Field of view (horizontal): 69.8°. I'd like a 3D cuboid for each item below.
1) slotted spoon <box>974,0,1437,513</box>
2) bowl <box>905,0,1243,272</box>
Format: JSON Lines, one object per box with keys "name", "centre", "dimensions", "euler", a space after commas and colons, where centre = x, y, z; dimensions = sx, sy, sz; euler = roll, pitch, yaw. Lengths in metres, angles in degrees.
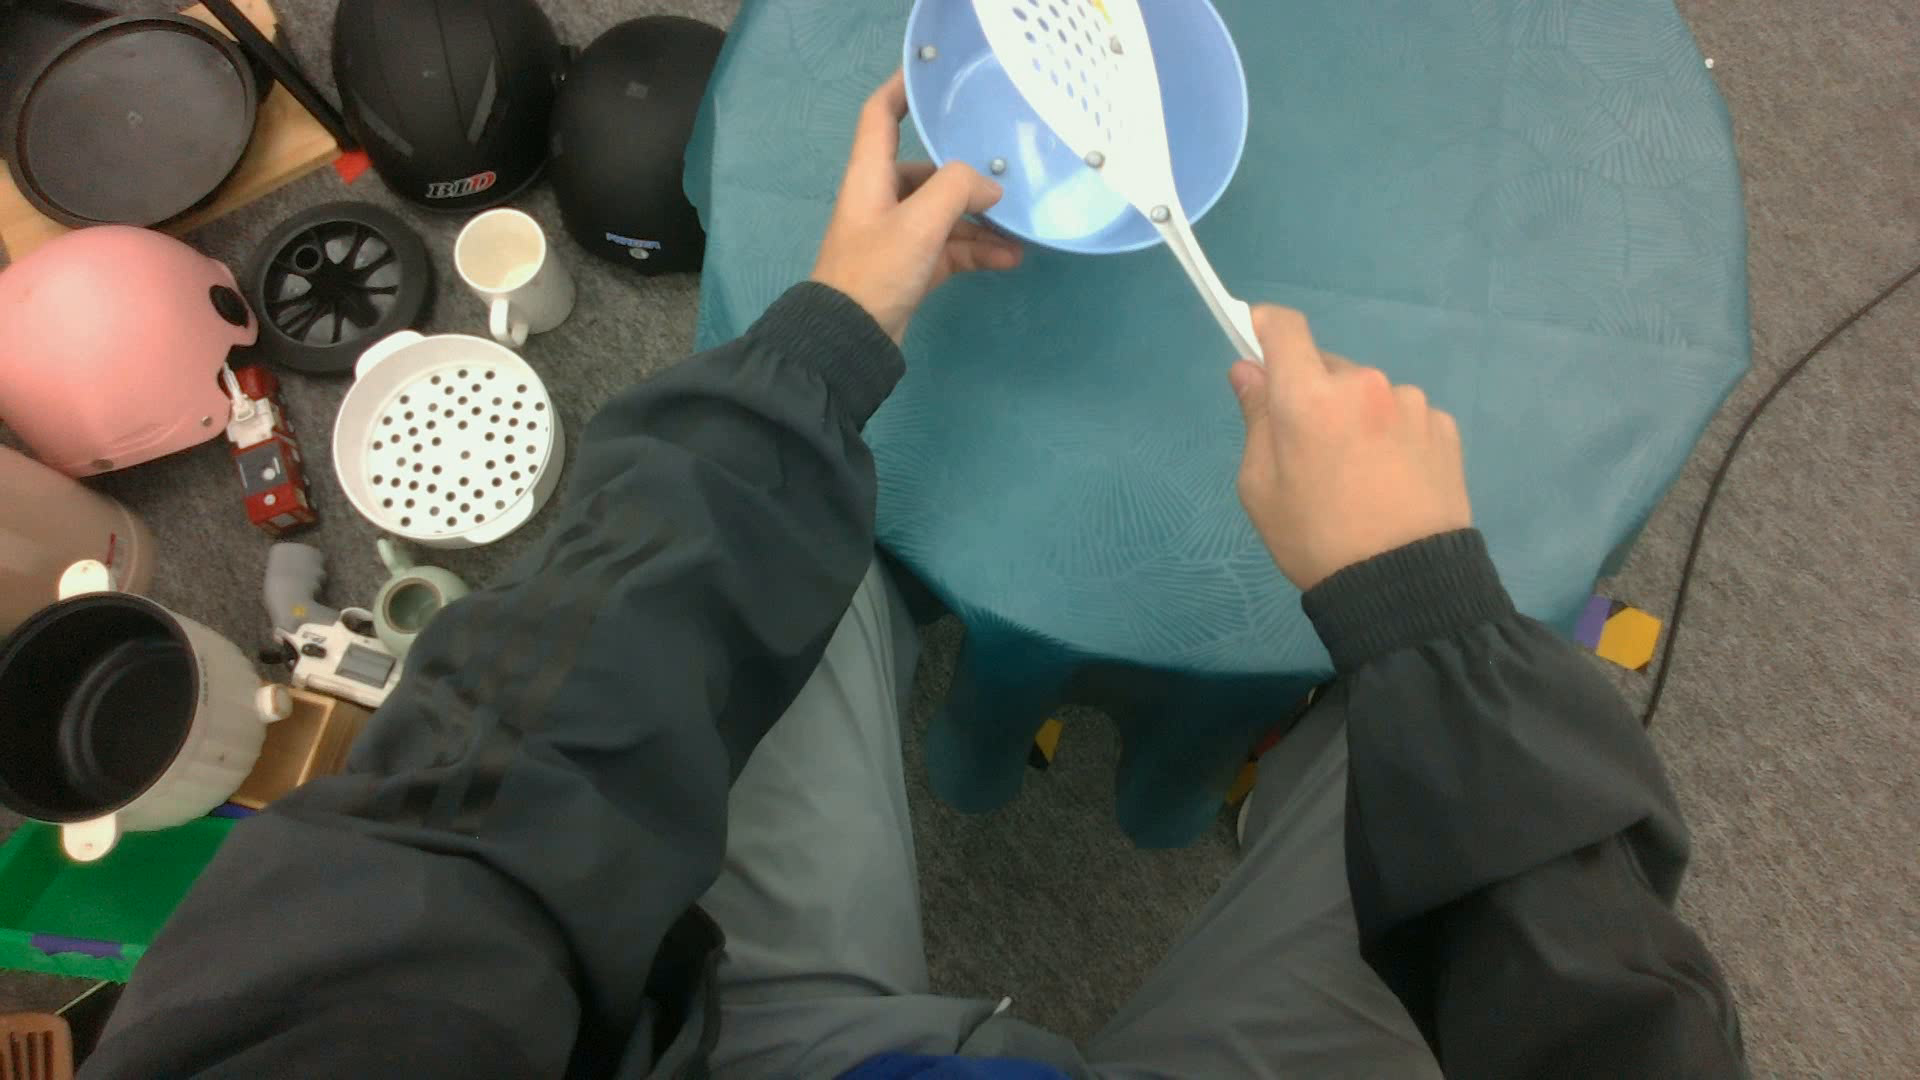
{"name": "slotted spoon", "centre": [0.105, -0.152, 0.630], "dimensions": [0.050, 0.136, 0.348], "euler": [-28, 82, -5]}
{"name": "bowl", "centre": [0.053, -0.210, 0.720], "dimensions": [0.176, 0.070, 0.176], "euler": [3, 76, -12]}
